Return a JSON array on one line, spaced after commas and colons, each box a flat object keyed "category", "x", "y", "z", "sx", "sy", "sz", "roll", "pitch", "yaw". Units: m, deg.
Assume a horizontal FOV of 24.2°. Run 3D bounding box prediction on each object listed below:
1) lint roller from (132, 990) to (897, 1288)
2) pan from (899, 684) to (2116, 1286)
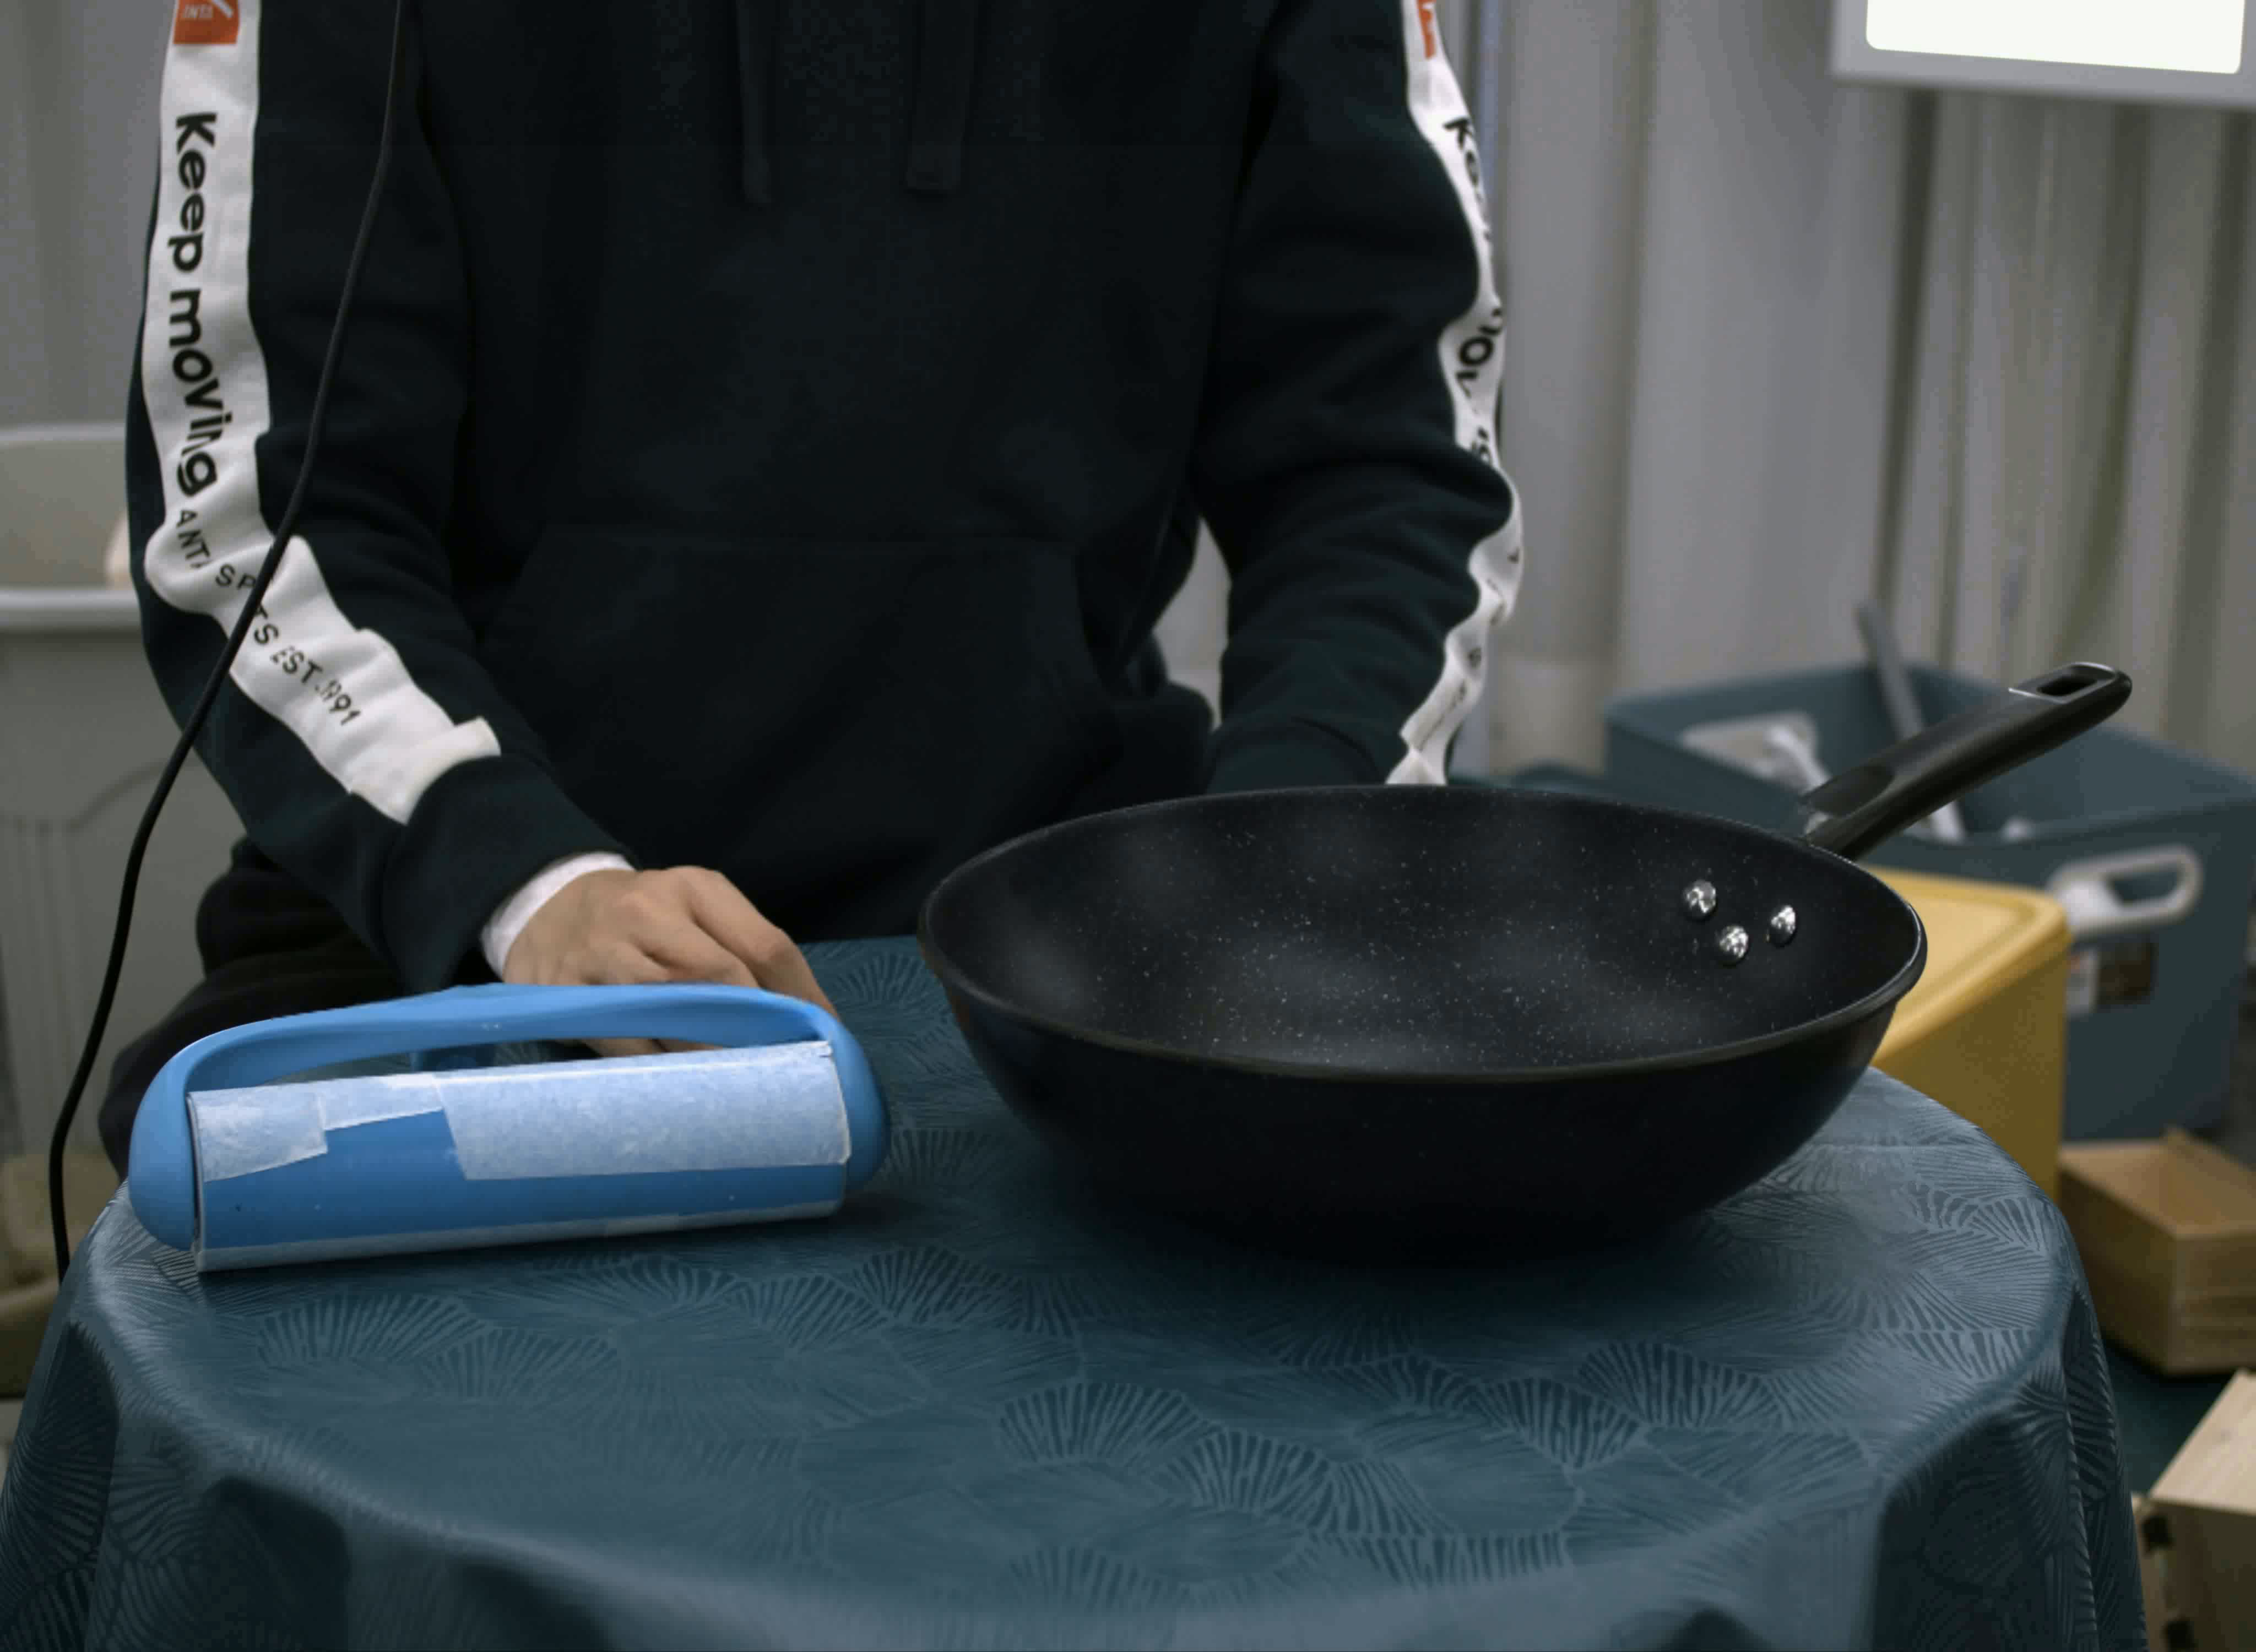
[{"category": "lint roller", "x": -0.199, "y": 0.082, "z": 1.616, "sx": 0.229, "sy": 0.068, "sz": 0.178, "roll": -7, "pitch": 18, "yaw": -18}, {"category": "pan", "x": 0.147, "y": 0.046, "z": 1.665, "sx": 0.479, "sy": 0.112, "sz": 0.306, "roll": -13, "pitch": 22, "yaw": -39}]
